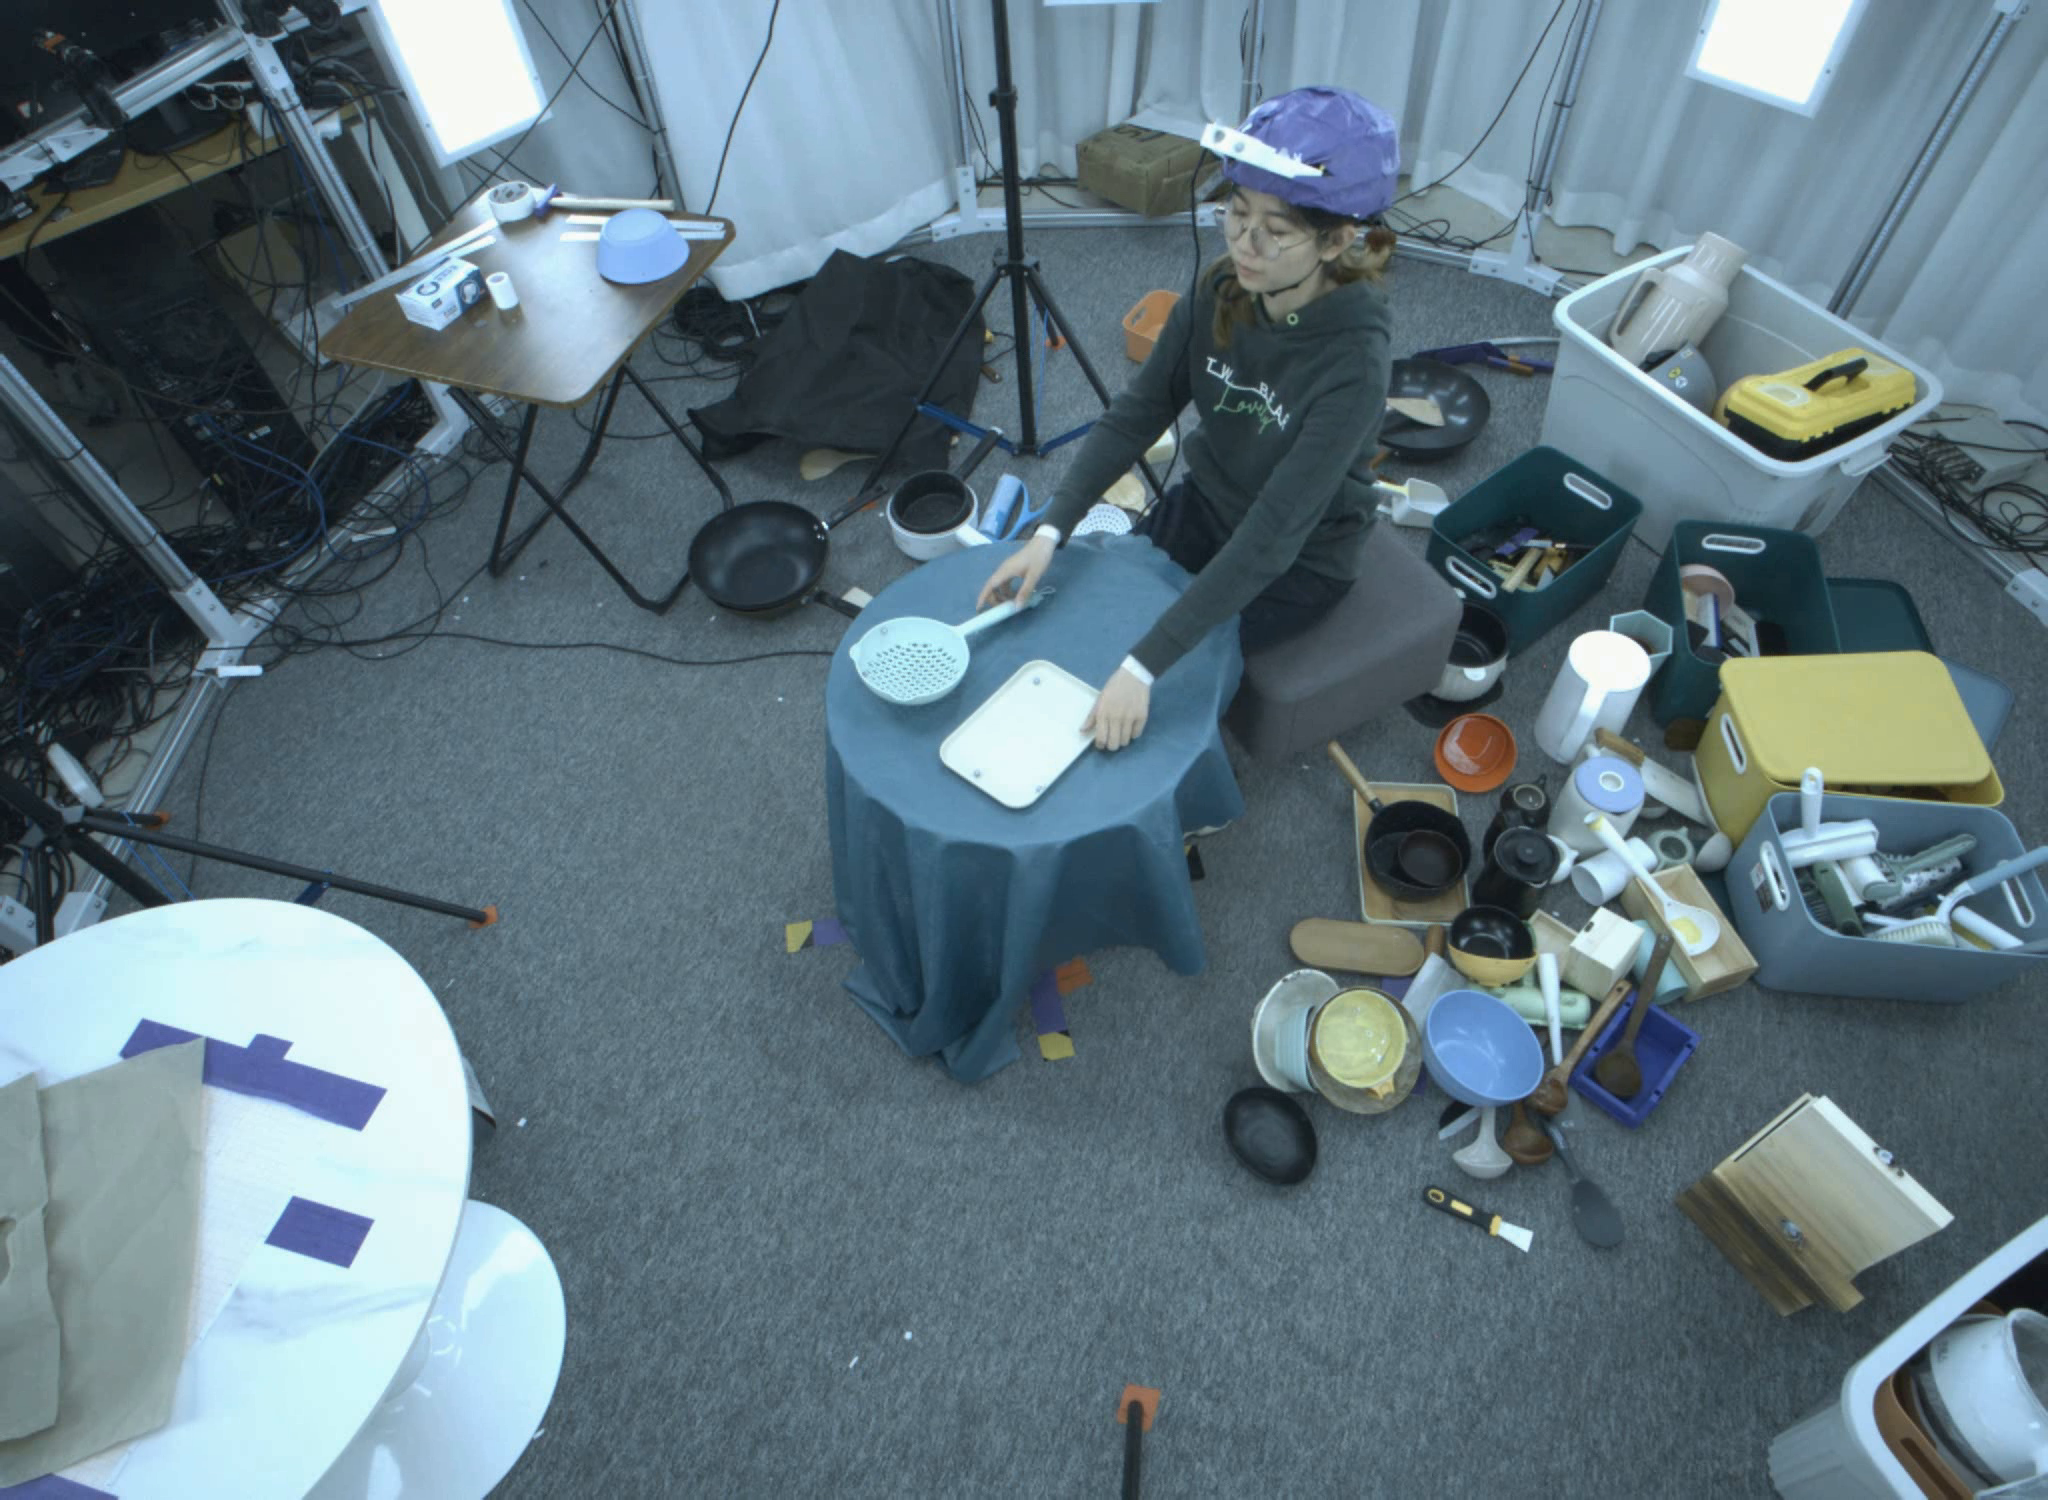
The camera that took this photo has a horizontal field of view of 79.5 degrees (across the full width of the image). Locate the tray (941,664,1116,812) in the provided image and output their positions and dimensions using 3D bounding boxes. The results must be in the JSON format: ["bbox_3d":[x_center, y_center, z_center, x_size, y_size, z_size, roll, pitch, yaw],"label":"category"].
[{"bbox_3d":[0.008,-0.019,1.801,0.168,0.017,0.241,33,61,22],"label":"tray"}]

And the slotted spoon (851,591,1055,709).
[{"bbox_3d":[-0.092,-0.172,1.883,0.361,0.076,0.166,-36,62,-22],"label":"slotted spoon"}]
